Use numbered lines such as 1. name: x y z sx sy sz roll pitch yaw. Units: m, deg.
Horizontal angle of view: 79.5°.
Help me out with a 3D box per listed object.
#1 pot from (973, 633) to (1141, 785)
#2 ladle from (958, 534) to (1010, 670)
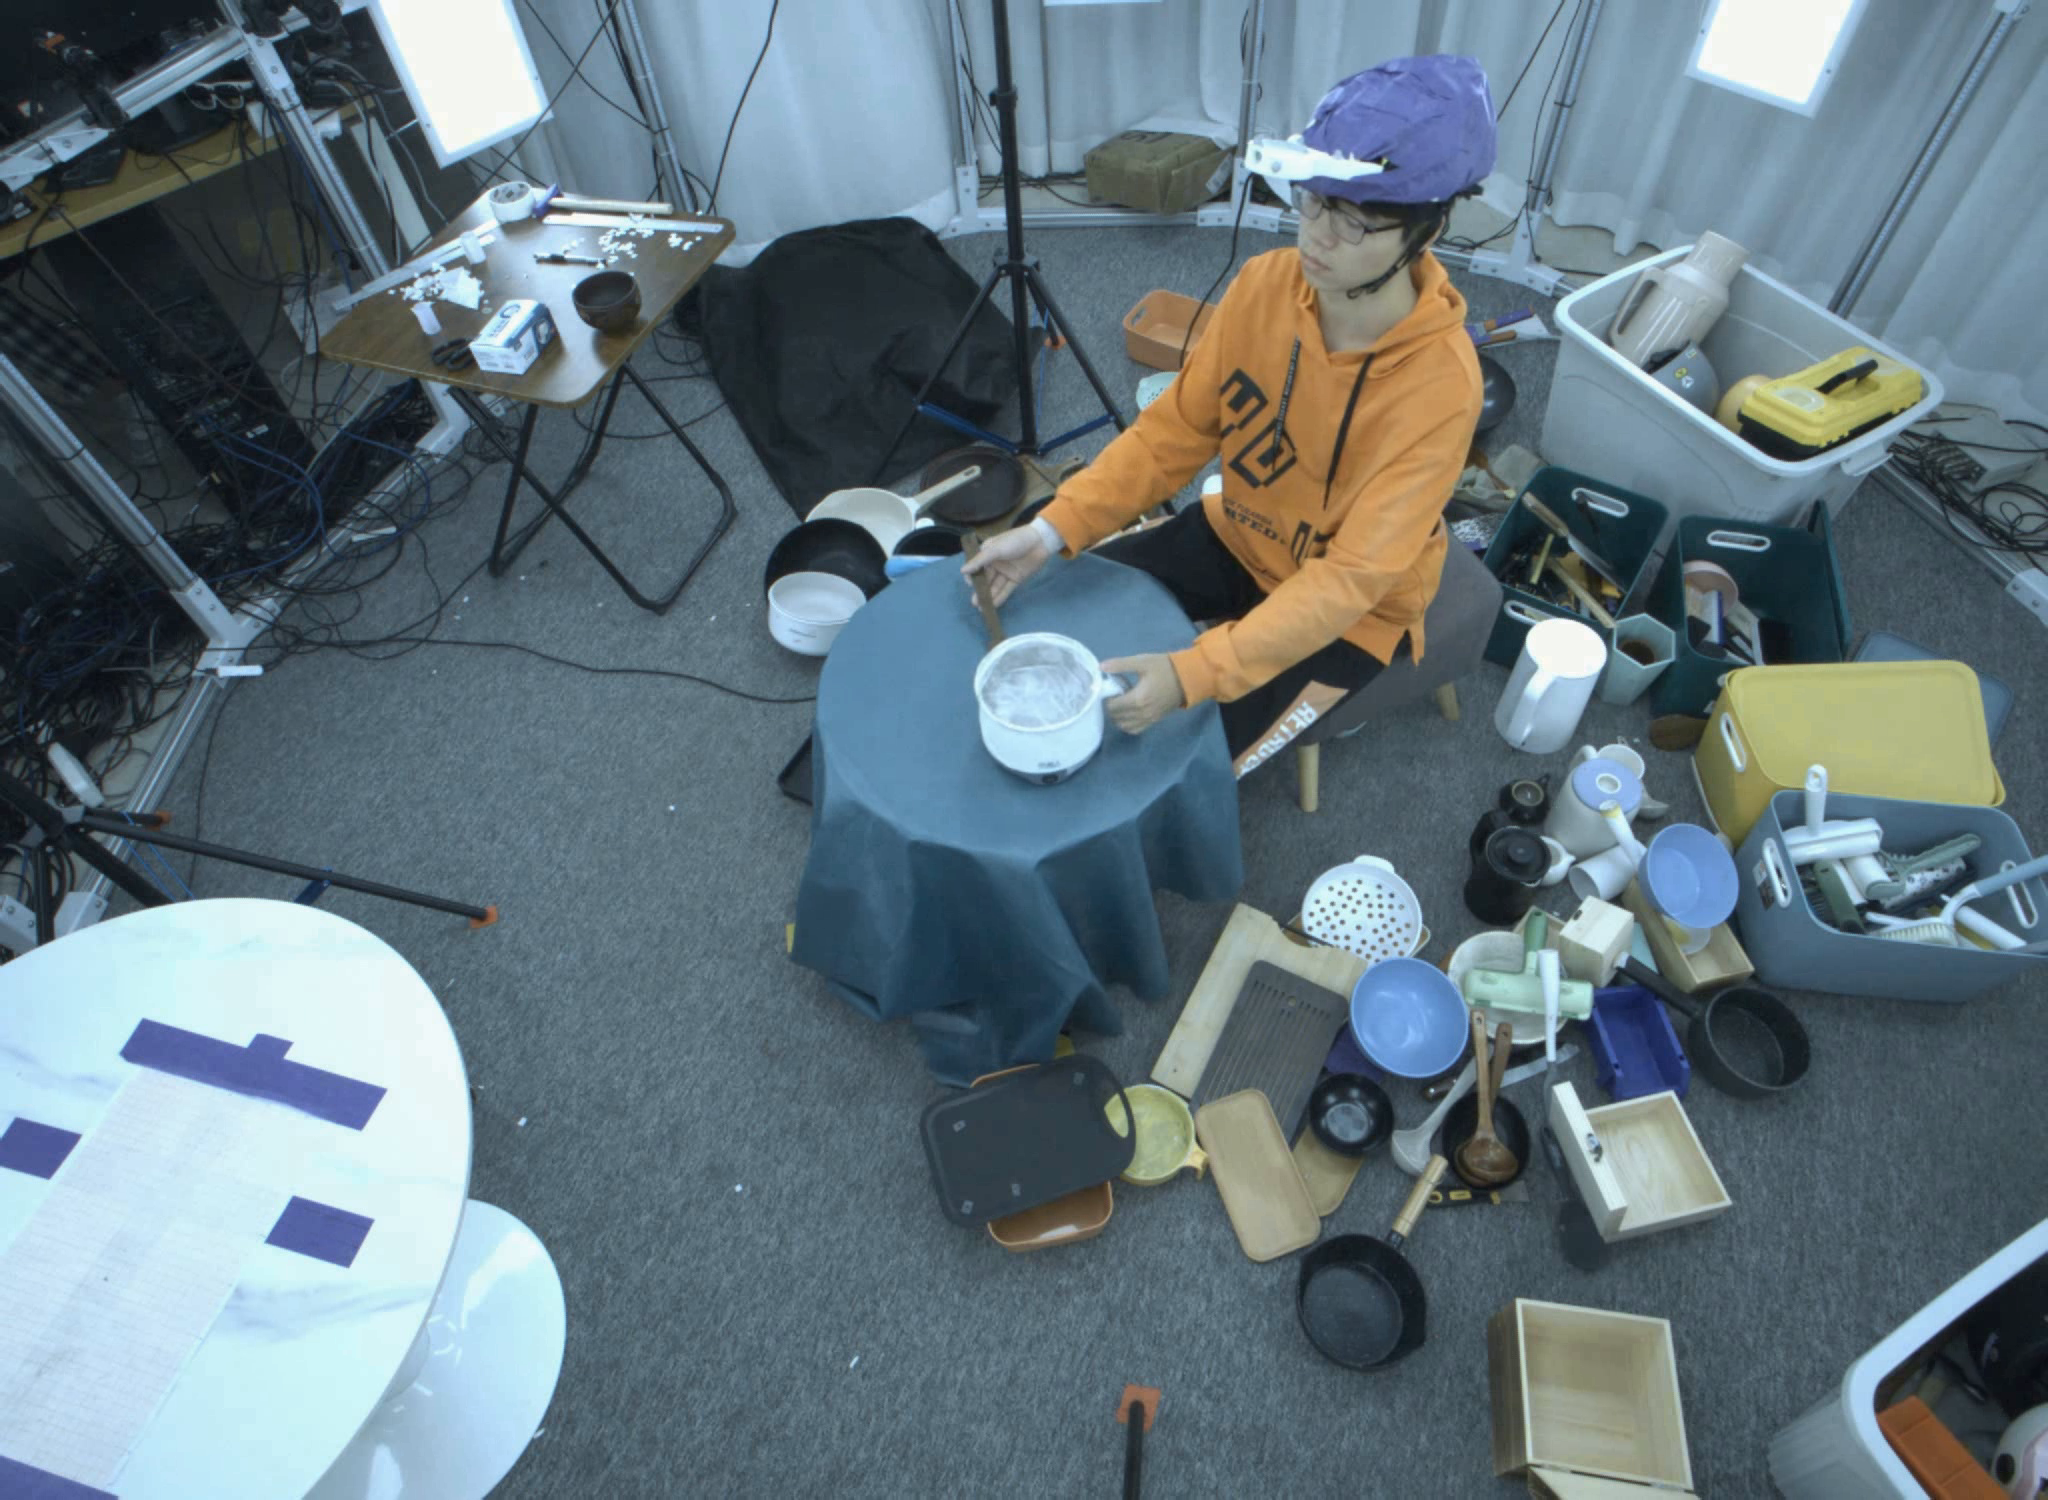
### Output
1. pot: 0.049 -0.062 1.744 0.234 0.138 0.176 -9 55 -3
2. ladle: -0.059 -0.226 1.875 0.076 0.072 0.271 -16 74 -2
